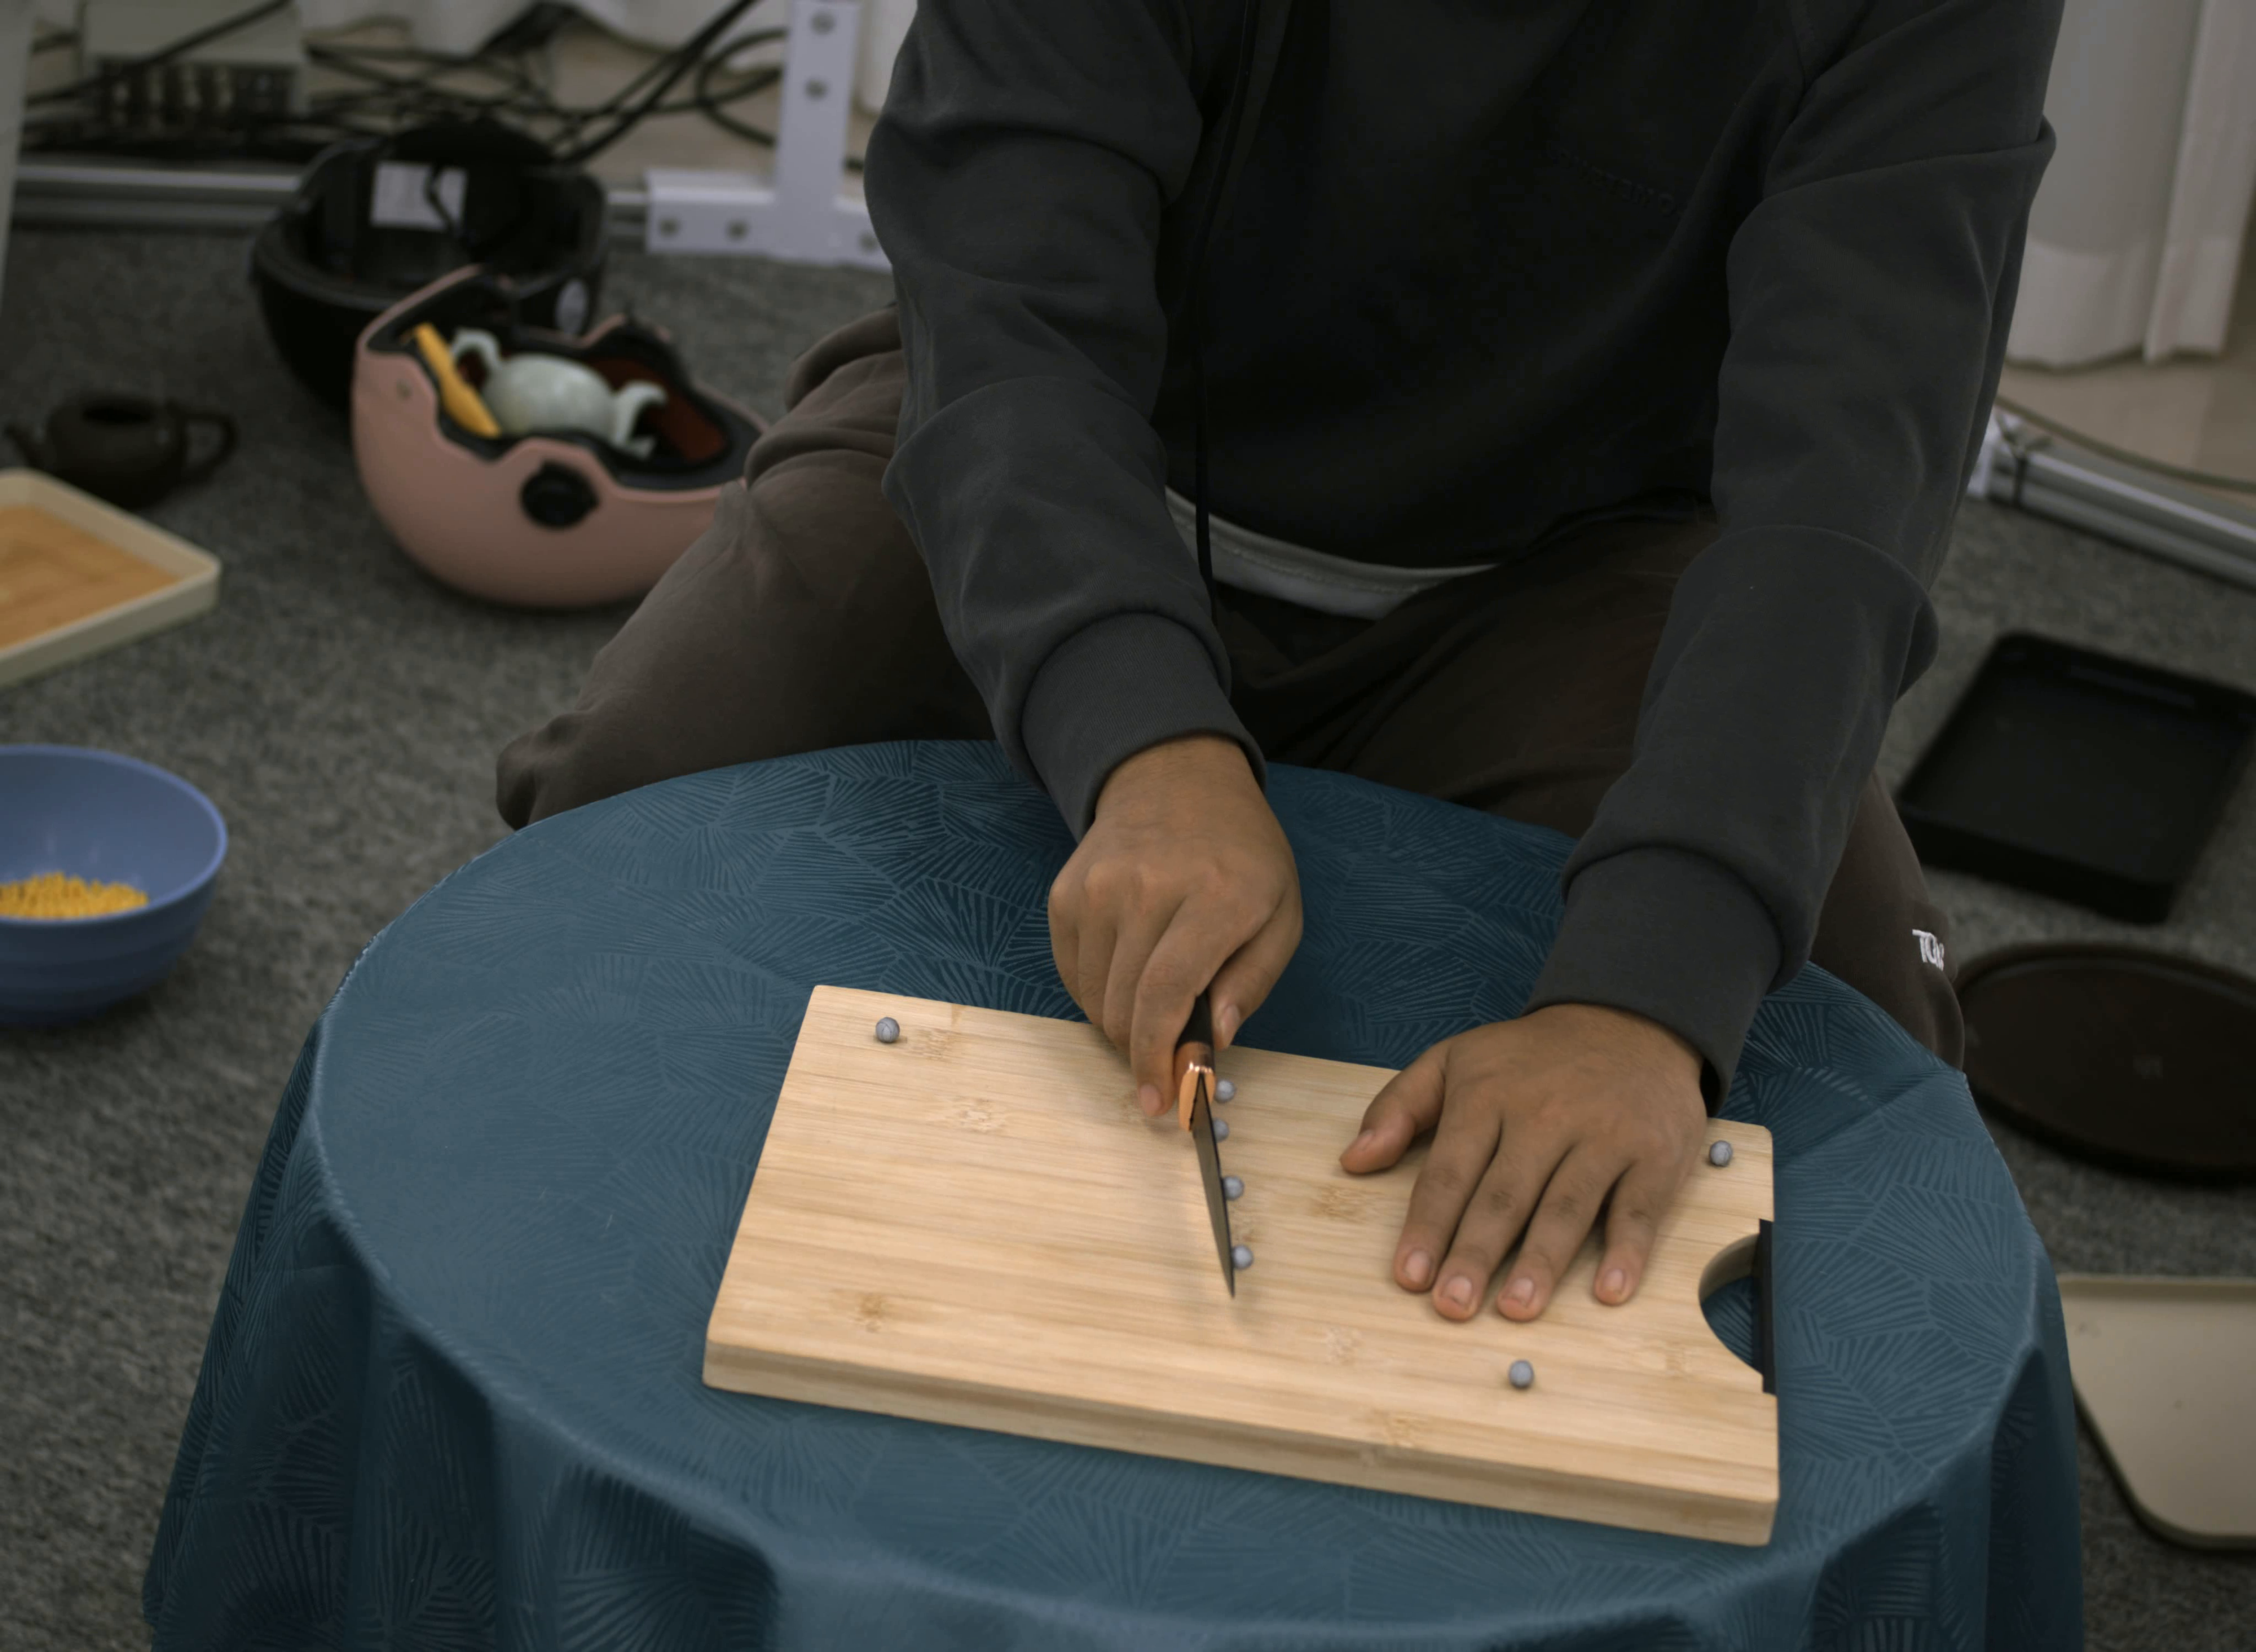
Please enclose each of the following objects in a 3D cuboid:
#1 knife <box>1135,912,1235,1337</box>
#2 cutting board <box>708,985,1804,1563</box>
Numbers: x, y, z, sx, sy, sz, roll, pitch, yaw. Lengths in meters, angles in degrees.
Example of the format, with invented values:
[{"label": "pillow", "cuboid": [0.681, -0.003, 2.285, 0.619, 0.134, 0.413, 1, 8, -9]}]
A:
[{"label": "knife", "cuboid": [0.021, 0.096, 1.782, 0.017, 0.026, 0.227, 8, 31, -12]}, {"label": "cutting board", "cuboid": [0.050, 0.142, 1.763, 0.348, 0.023, 0.252, 8, 27, 2]}]
